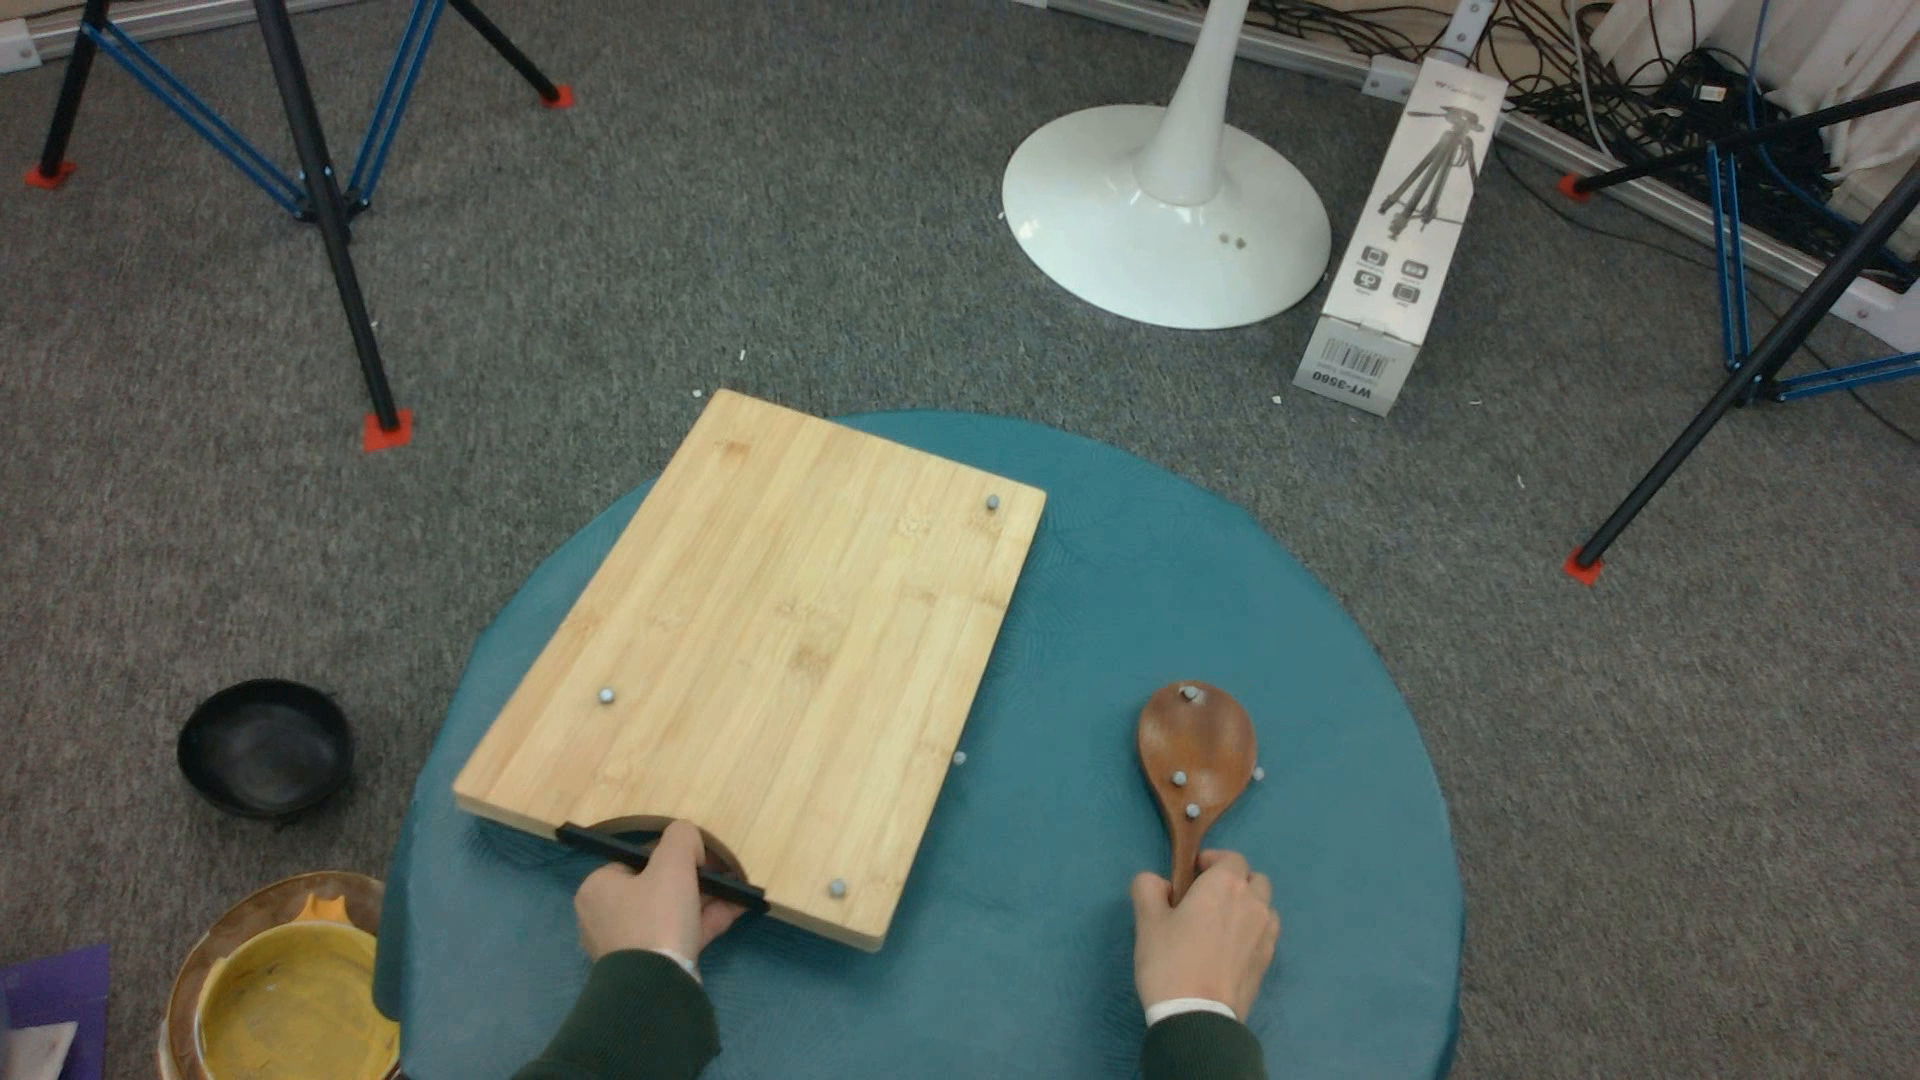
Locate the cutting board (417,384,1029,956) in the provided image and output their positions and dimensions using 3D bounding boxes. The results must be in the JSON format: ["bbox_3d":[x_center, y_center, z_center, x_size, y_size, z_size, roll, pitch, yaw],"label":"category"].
[{"bbox_3d":[-0.117,0.054,0.822,0.250,0.023,0.350,17,47,4],"label":"cutting board"}]

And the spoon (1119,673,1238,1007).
[{"bbox_3d":[0.120,0.164,0.788,0.075,0.017,0.217,16,46,-2],"label":"spoon"}]
